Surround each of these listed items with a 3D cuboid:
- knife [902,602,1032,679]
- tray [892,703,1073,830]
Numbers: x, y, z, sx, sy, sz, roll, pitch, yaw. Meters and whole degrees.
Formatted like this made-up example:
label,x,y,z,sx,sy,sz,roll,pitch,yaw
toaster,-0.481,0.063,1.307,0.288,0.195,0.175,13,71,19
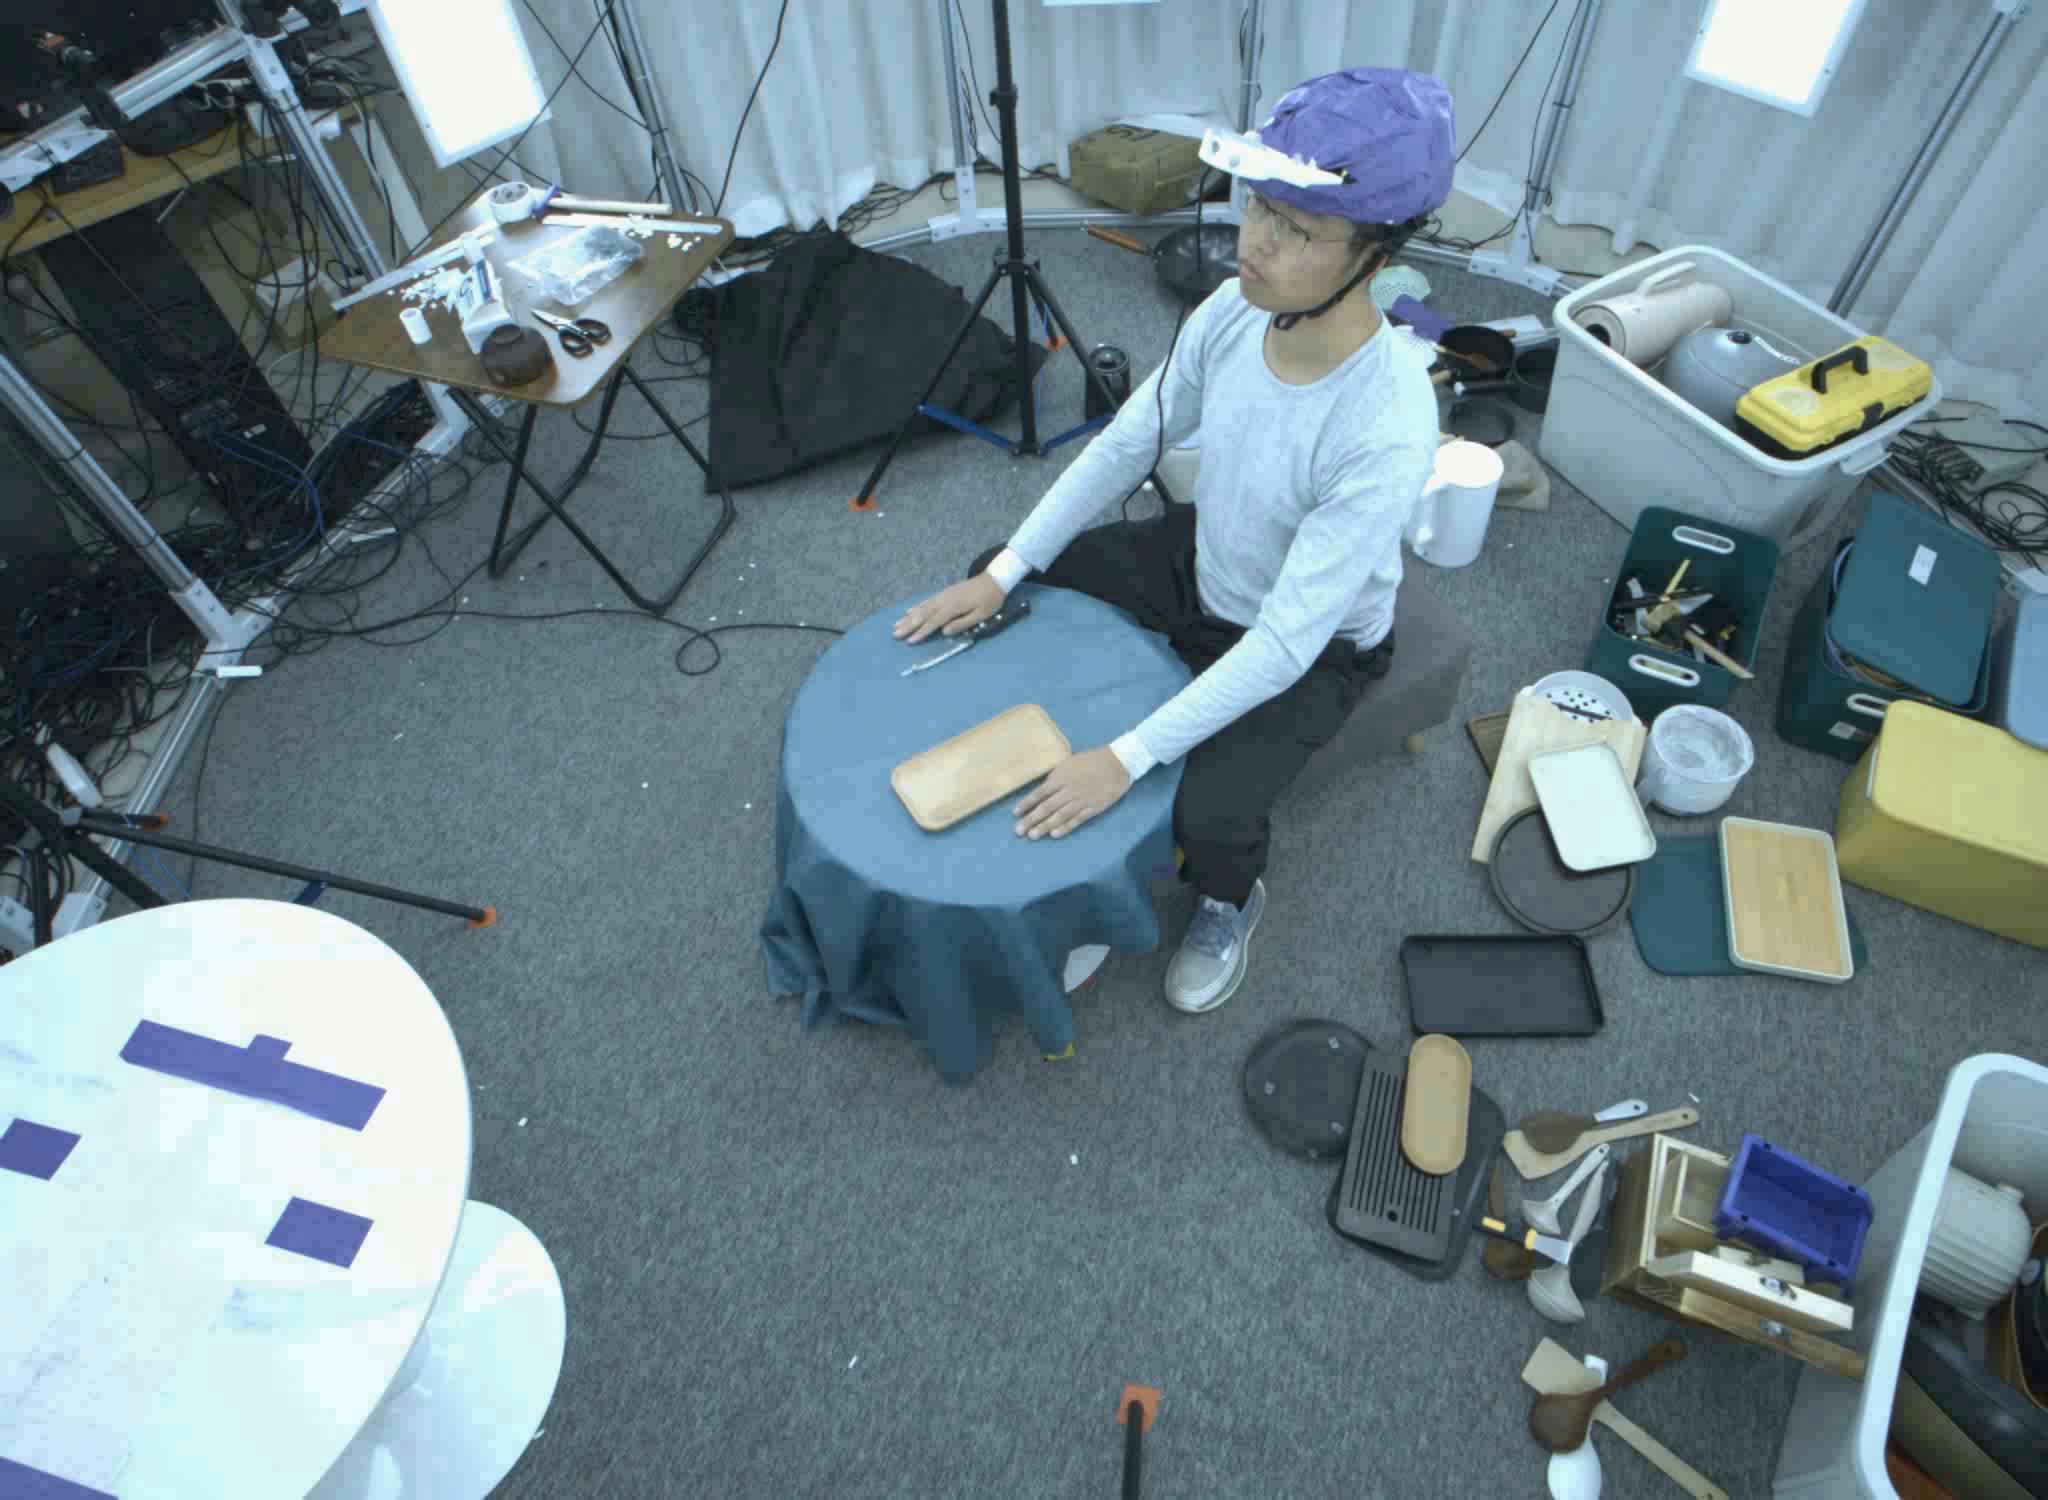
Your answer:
label,x,y,z,sx,sy,sz,roll,pitch,yaw
knife,-0.091,-0.171,1.913,0.240,0.016,0.024,-31,59,-16
tray,-0.059,0.022,1.771,0.253,0.023,0.128,-26,60,-17
